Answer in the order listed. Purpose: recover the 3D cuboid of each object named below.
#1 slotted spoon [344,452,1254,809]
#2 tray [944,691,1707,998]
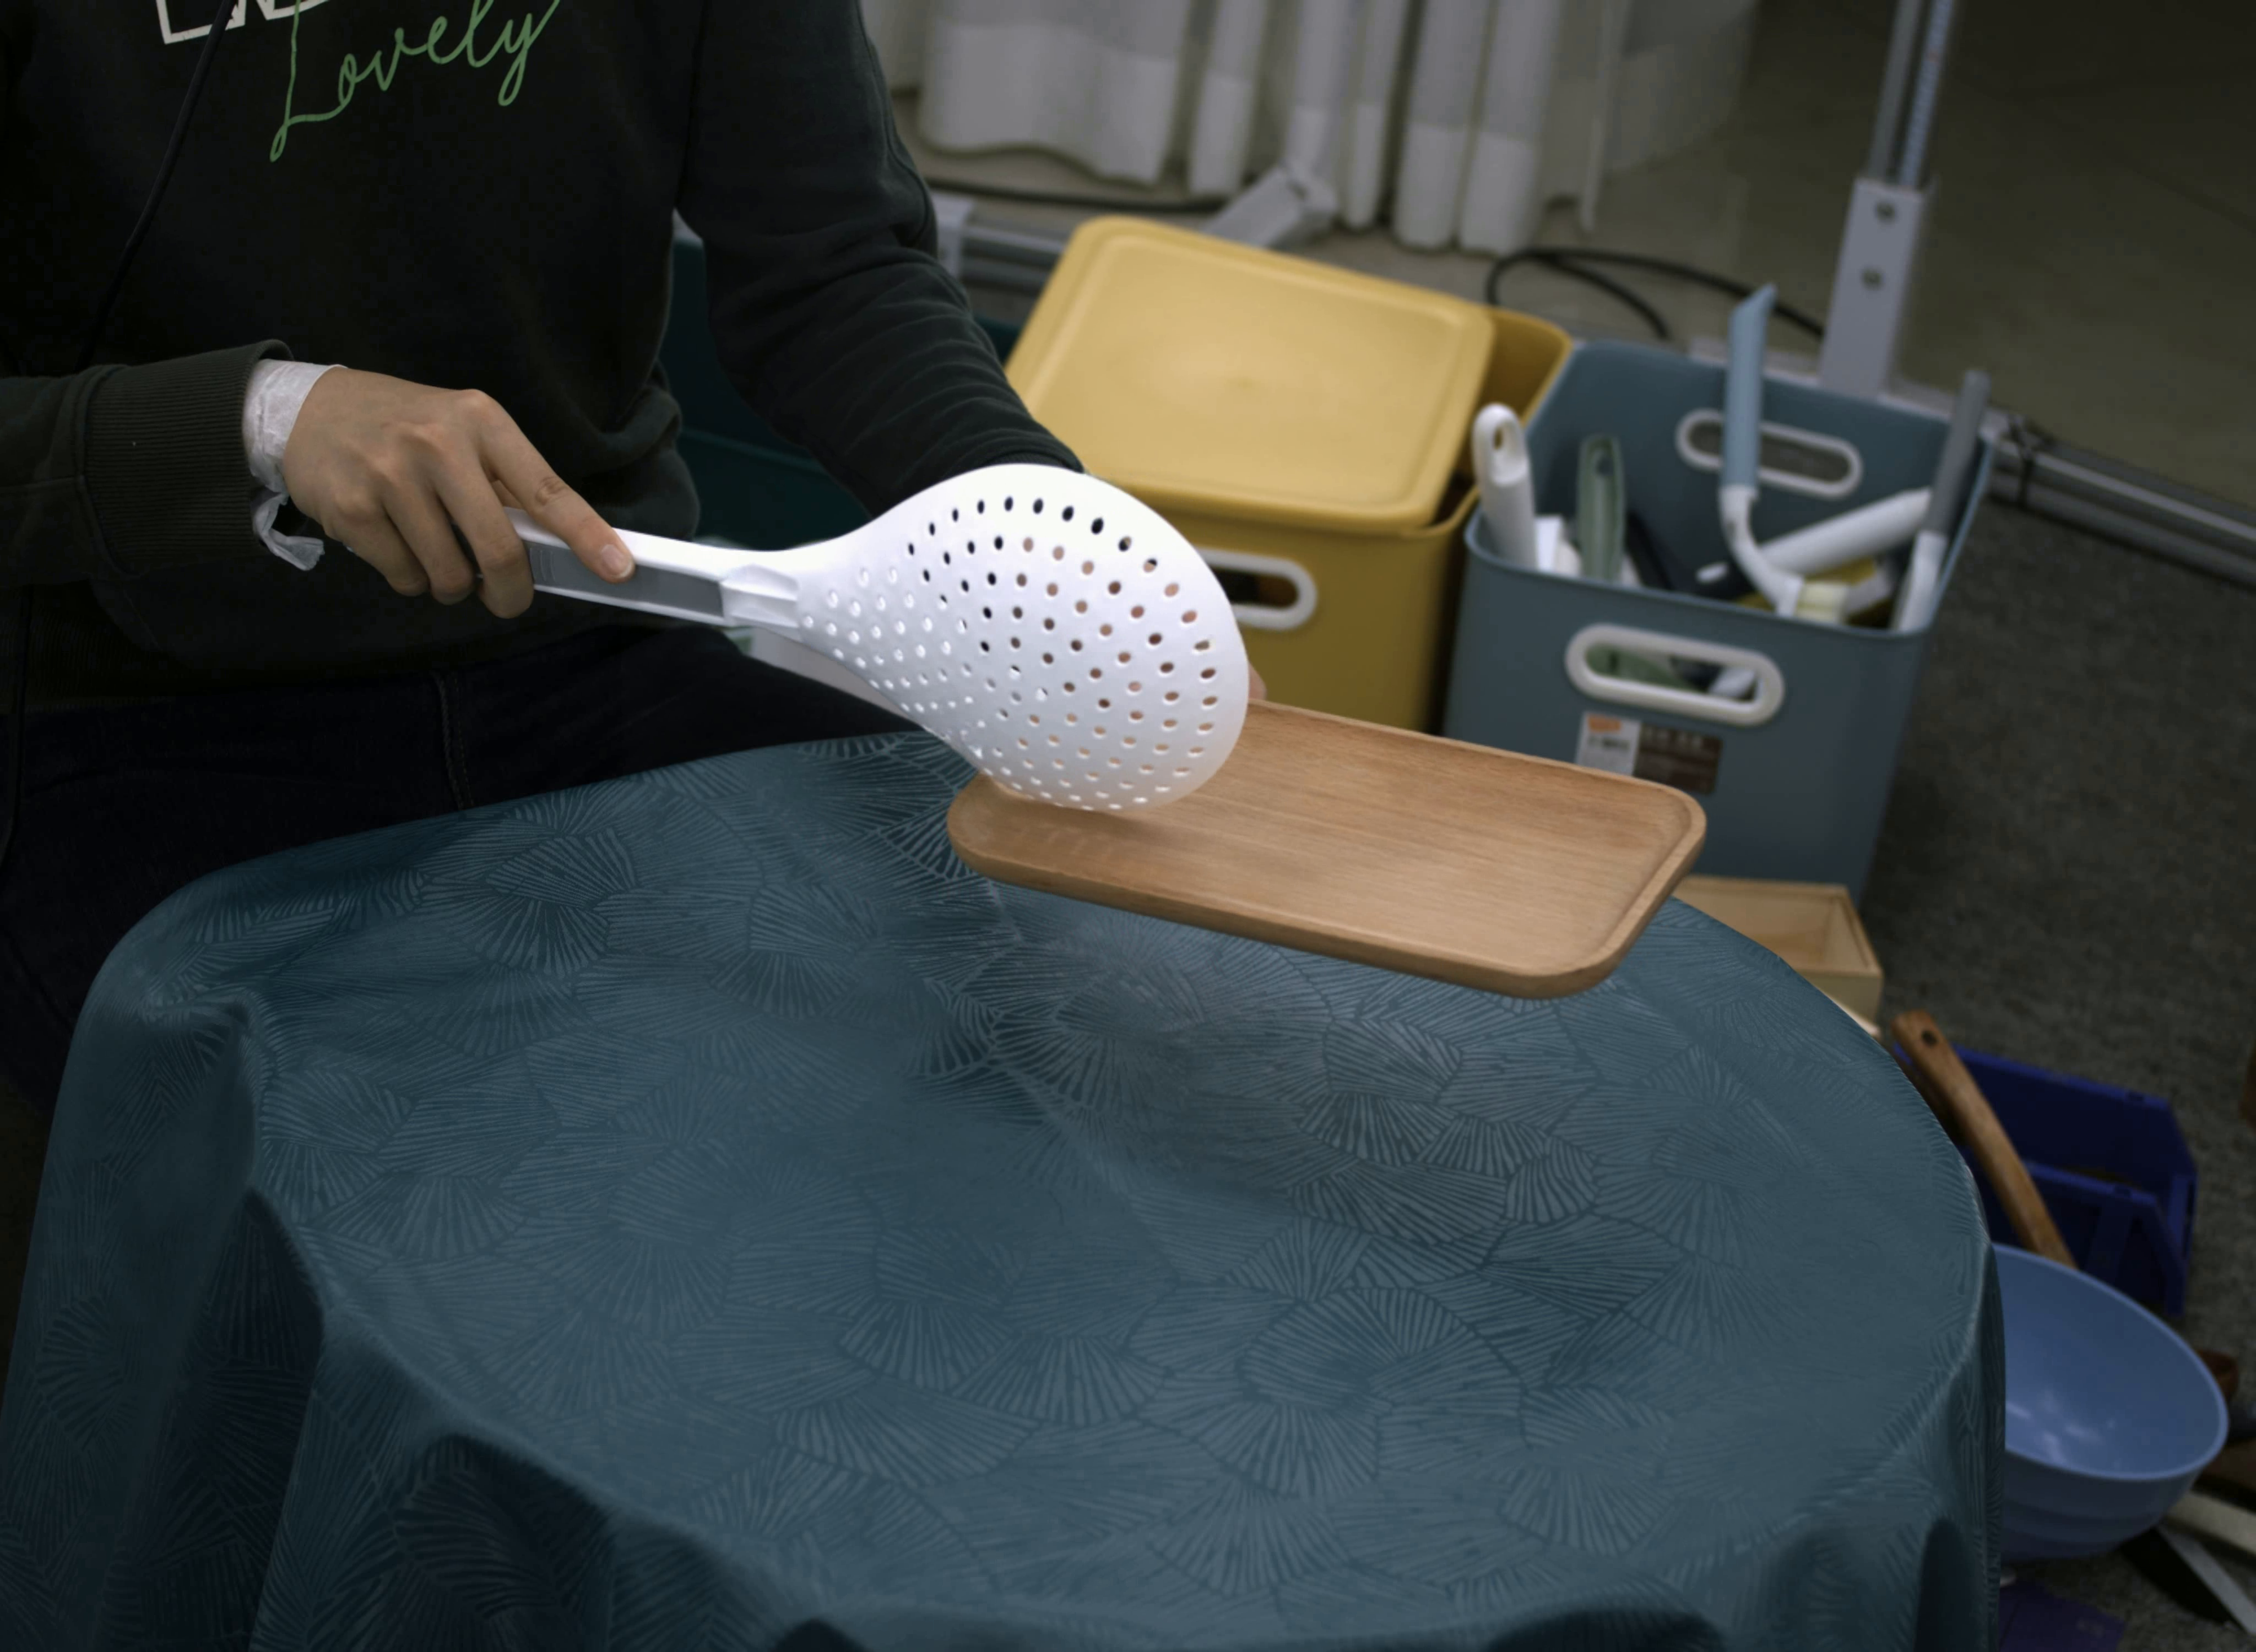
[{"bbox_3d":[-0.121,-0.080,1.848,0.351,0.135,0.046,13,34,27],"label":"slotted spoon"},{"bbox_3d":[0.067,0.002,1.823,0.252,0.023,0.130,11,33,26],"label":"tray"}]
